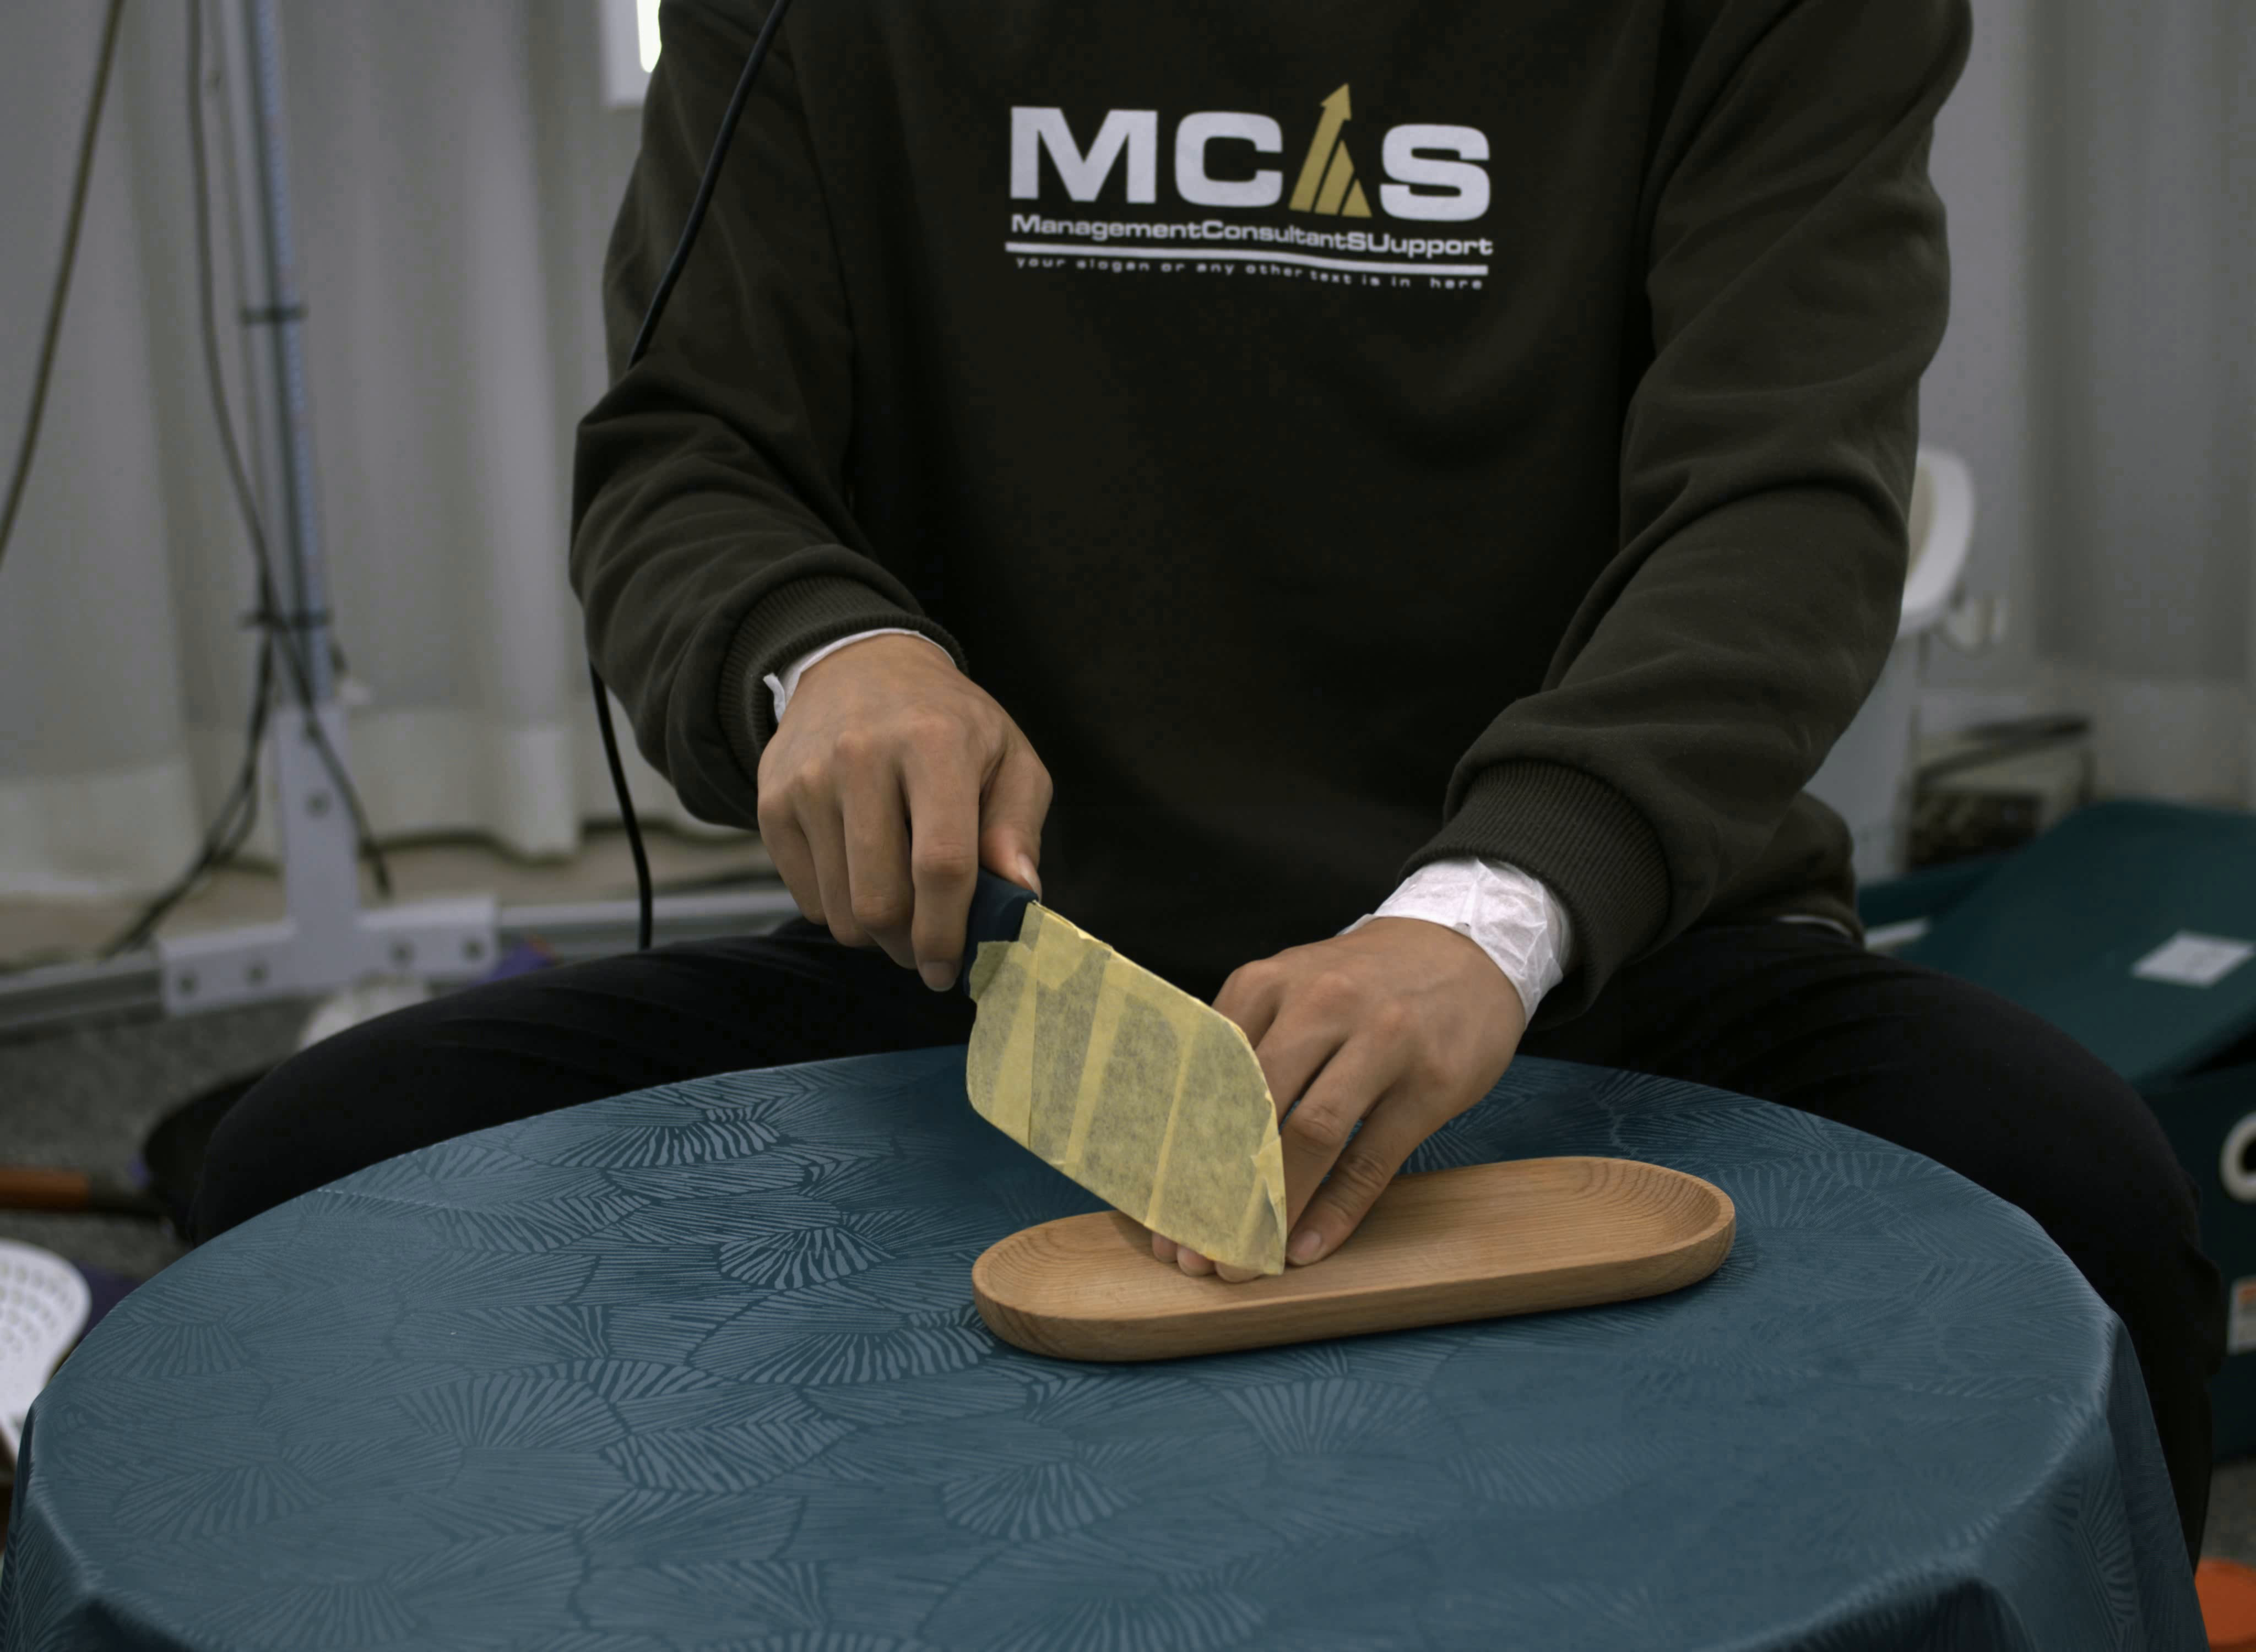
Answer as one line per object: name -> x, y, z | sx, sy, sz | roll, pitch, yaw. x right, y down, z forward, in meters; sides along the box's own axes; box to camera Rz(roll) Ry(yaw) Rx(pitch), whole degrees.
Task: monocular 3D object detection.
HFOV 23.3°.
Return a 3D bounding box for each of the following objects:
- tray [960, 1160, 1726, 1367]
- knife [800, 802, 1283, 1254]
tray -> 0.064, 0.130, 1.619 | 0.230, 0.020, 0.102 | -8, 13, -11
knife -> -0.030, 0.058, 1.691 | 0.027, 0.081, 0.292 | 7, 16, -35
